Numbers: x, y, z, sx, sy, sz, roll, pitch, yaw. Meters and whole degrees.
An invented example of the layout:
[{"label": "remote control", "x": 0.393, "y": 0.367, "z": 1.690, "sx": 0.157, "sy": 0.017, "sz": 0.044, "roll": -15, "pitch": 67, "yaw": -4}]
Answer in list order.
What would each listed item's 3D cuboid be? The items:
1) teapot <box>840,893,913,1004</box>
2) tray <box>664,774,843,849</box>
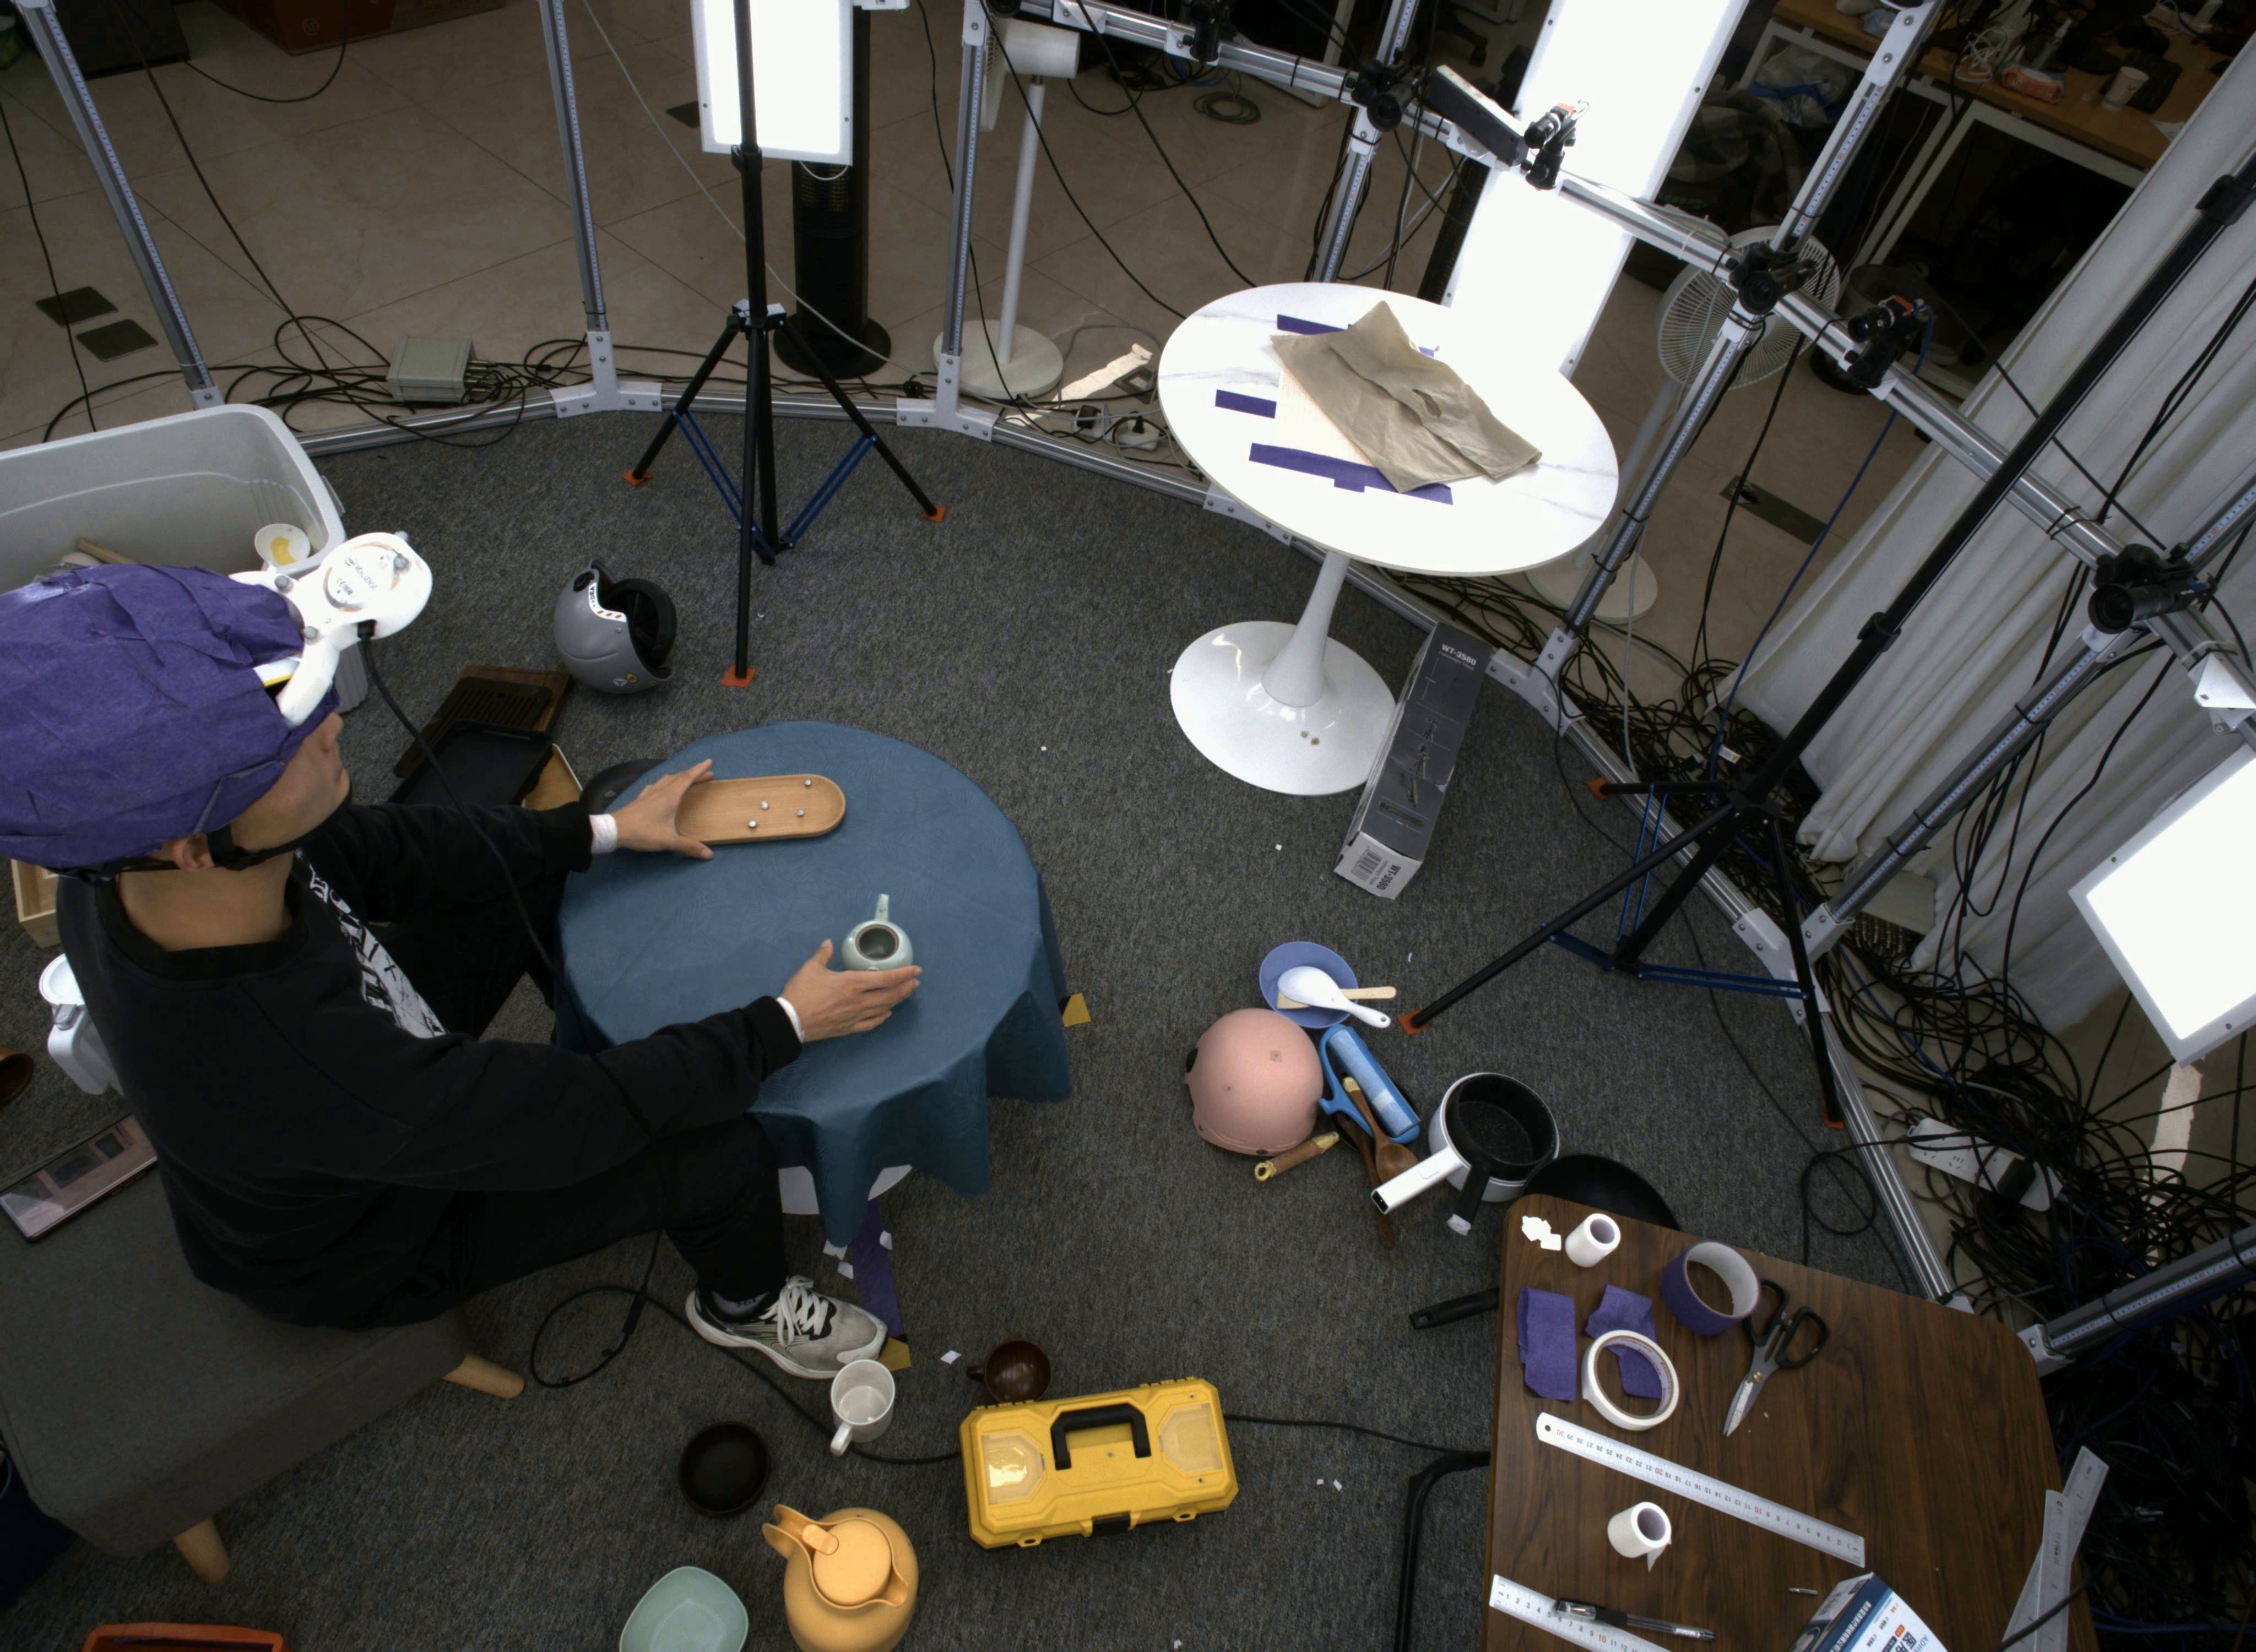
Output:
[{"label": "teapot", "x": -0.307, "y": 0.156, "z": 1.588, "sx": 0.088, "sy": 0.076, "sz": 0.141, "roll": 8, "pitch": 50, "yaw": -7}, {"label": "tray", "x": -0.493, "y": -0.020, "z": 1.708, "sx": 0.232, "sy": 0.021, "sz": 0.099, "roll": -7, "pitch": 54, "yaw": -17}]
